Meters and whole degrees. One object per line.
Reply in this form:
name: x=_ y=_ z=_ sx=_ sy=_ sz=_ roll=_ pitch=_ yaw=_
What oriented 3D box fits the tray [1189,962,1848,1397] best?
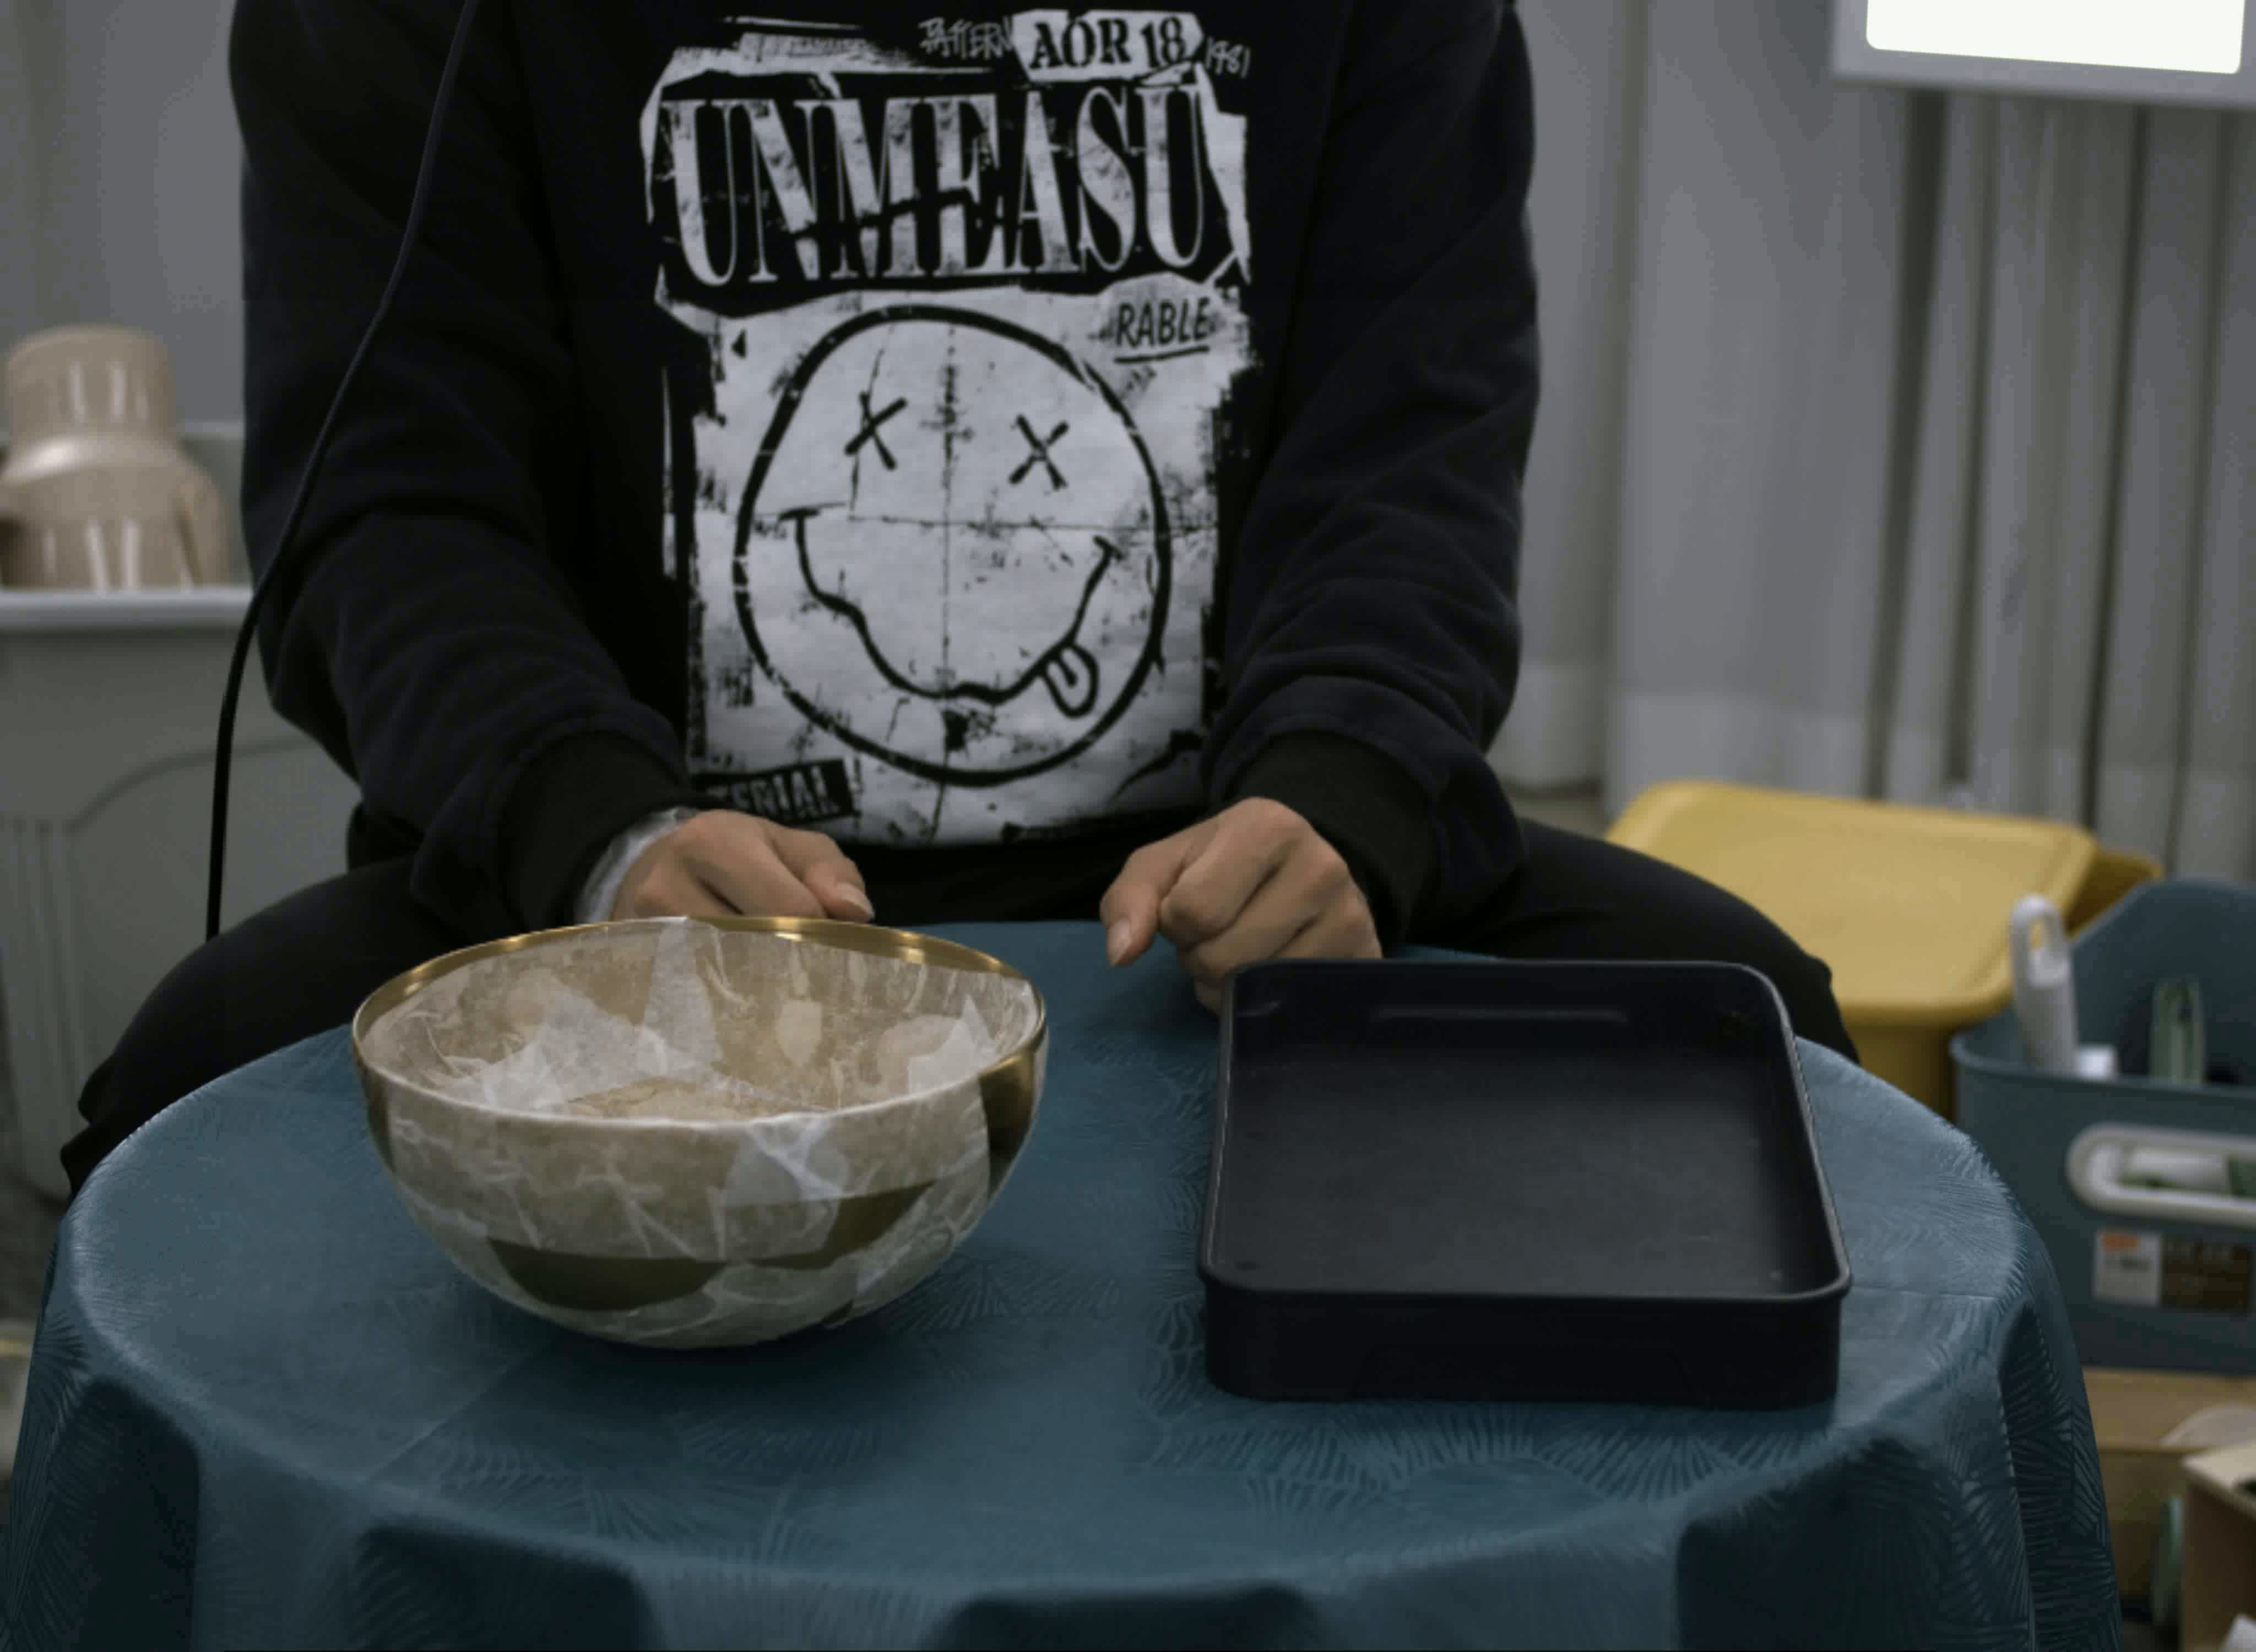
tray: x=0.116 y=0.101 z=1.598 sx=0.183 sy=0.037 sz=0.316 roll=0 pitch=15 yaw=3

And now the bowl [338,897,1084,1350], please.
bowl: x=-0.119 y=0.094 z=1.515 sx=0.214 sy=0.095 sz=0.213 roll=-1 pitch=16 yaw=1
